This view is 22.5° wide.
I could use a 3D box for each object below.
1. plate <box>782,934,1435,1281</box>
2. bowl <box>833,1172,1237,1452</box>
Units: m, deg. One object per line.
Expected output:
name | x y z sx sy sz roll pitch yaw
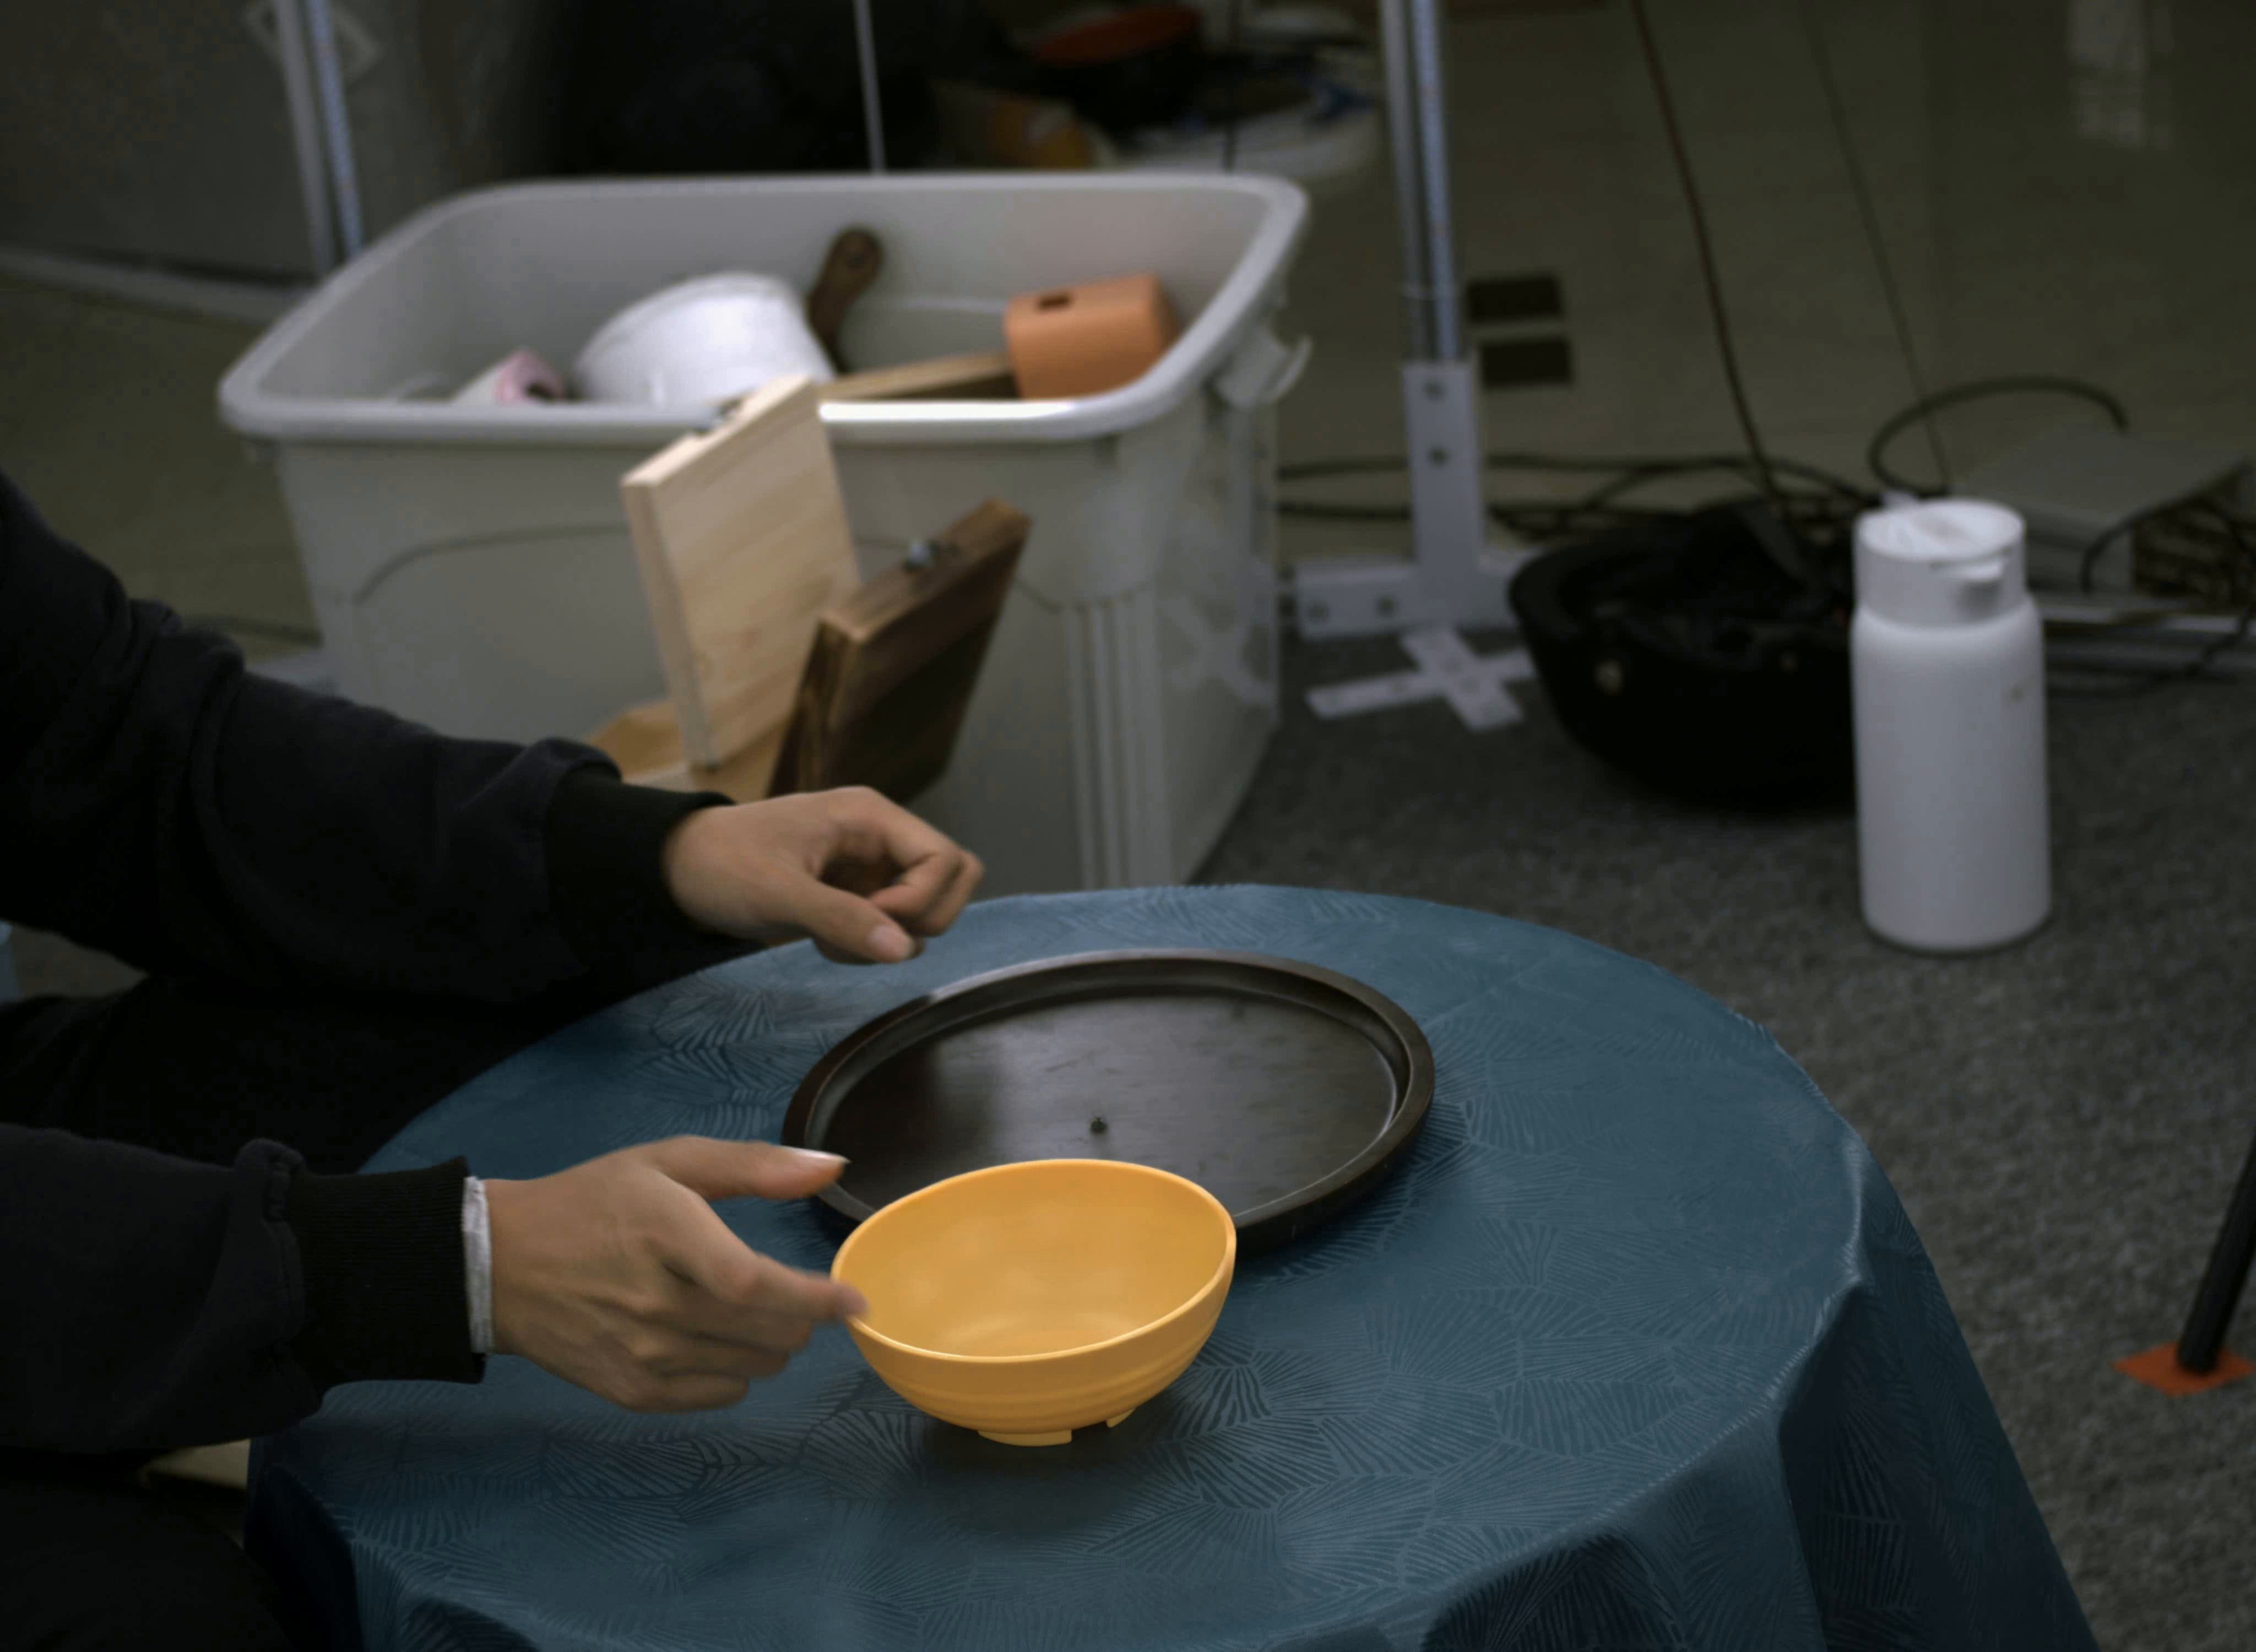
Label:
plate | -0.007 0.113 2.185 0.254 0.029 0.251 -6 26 3
bowl | -0.029 0.179 2.007 0.145 0.061 0.143 -7 23 3
